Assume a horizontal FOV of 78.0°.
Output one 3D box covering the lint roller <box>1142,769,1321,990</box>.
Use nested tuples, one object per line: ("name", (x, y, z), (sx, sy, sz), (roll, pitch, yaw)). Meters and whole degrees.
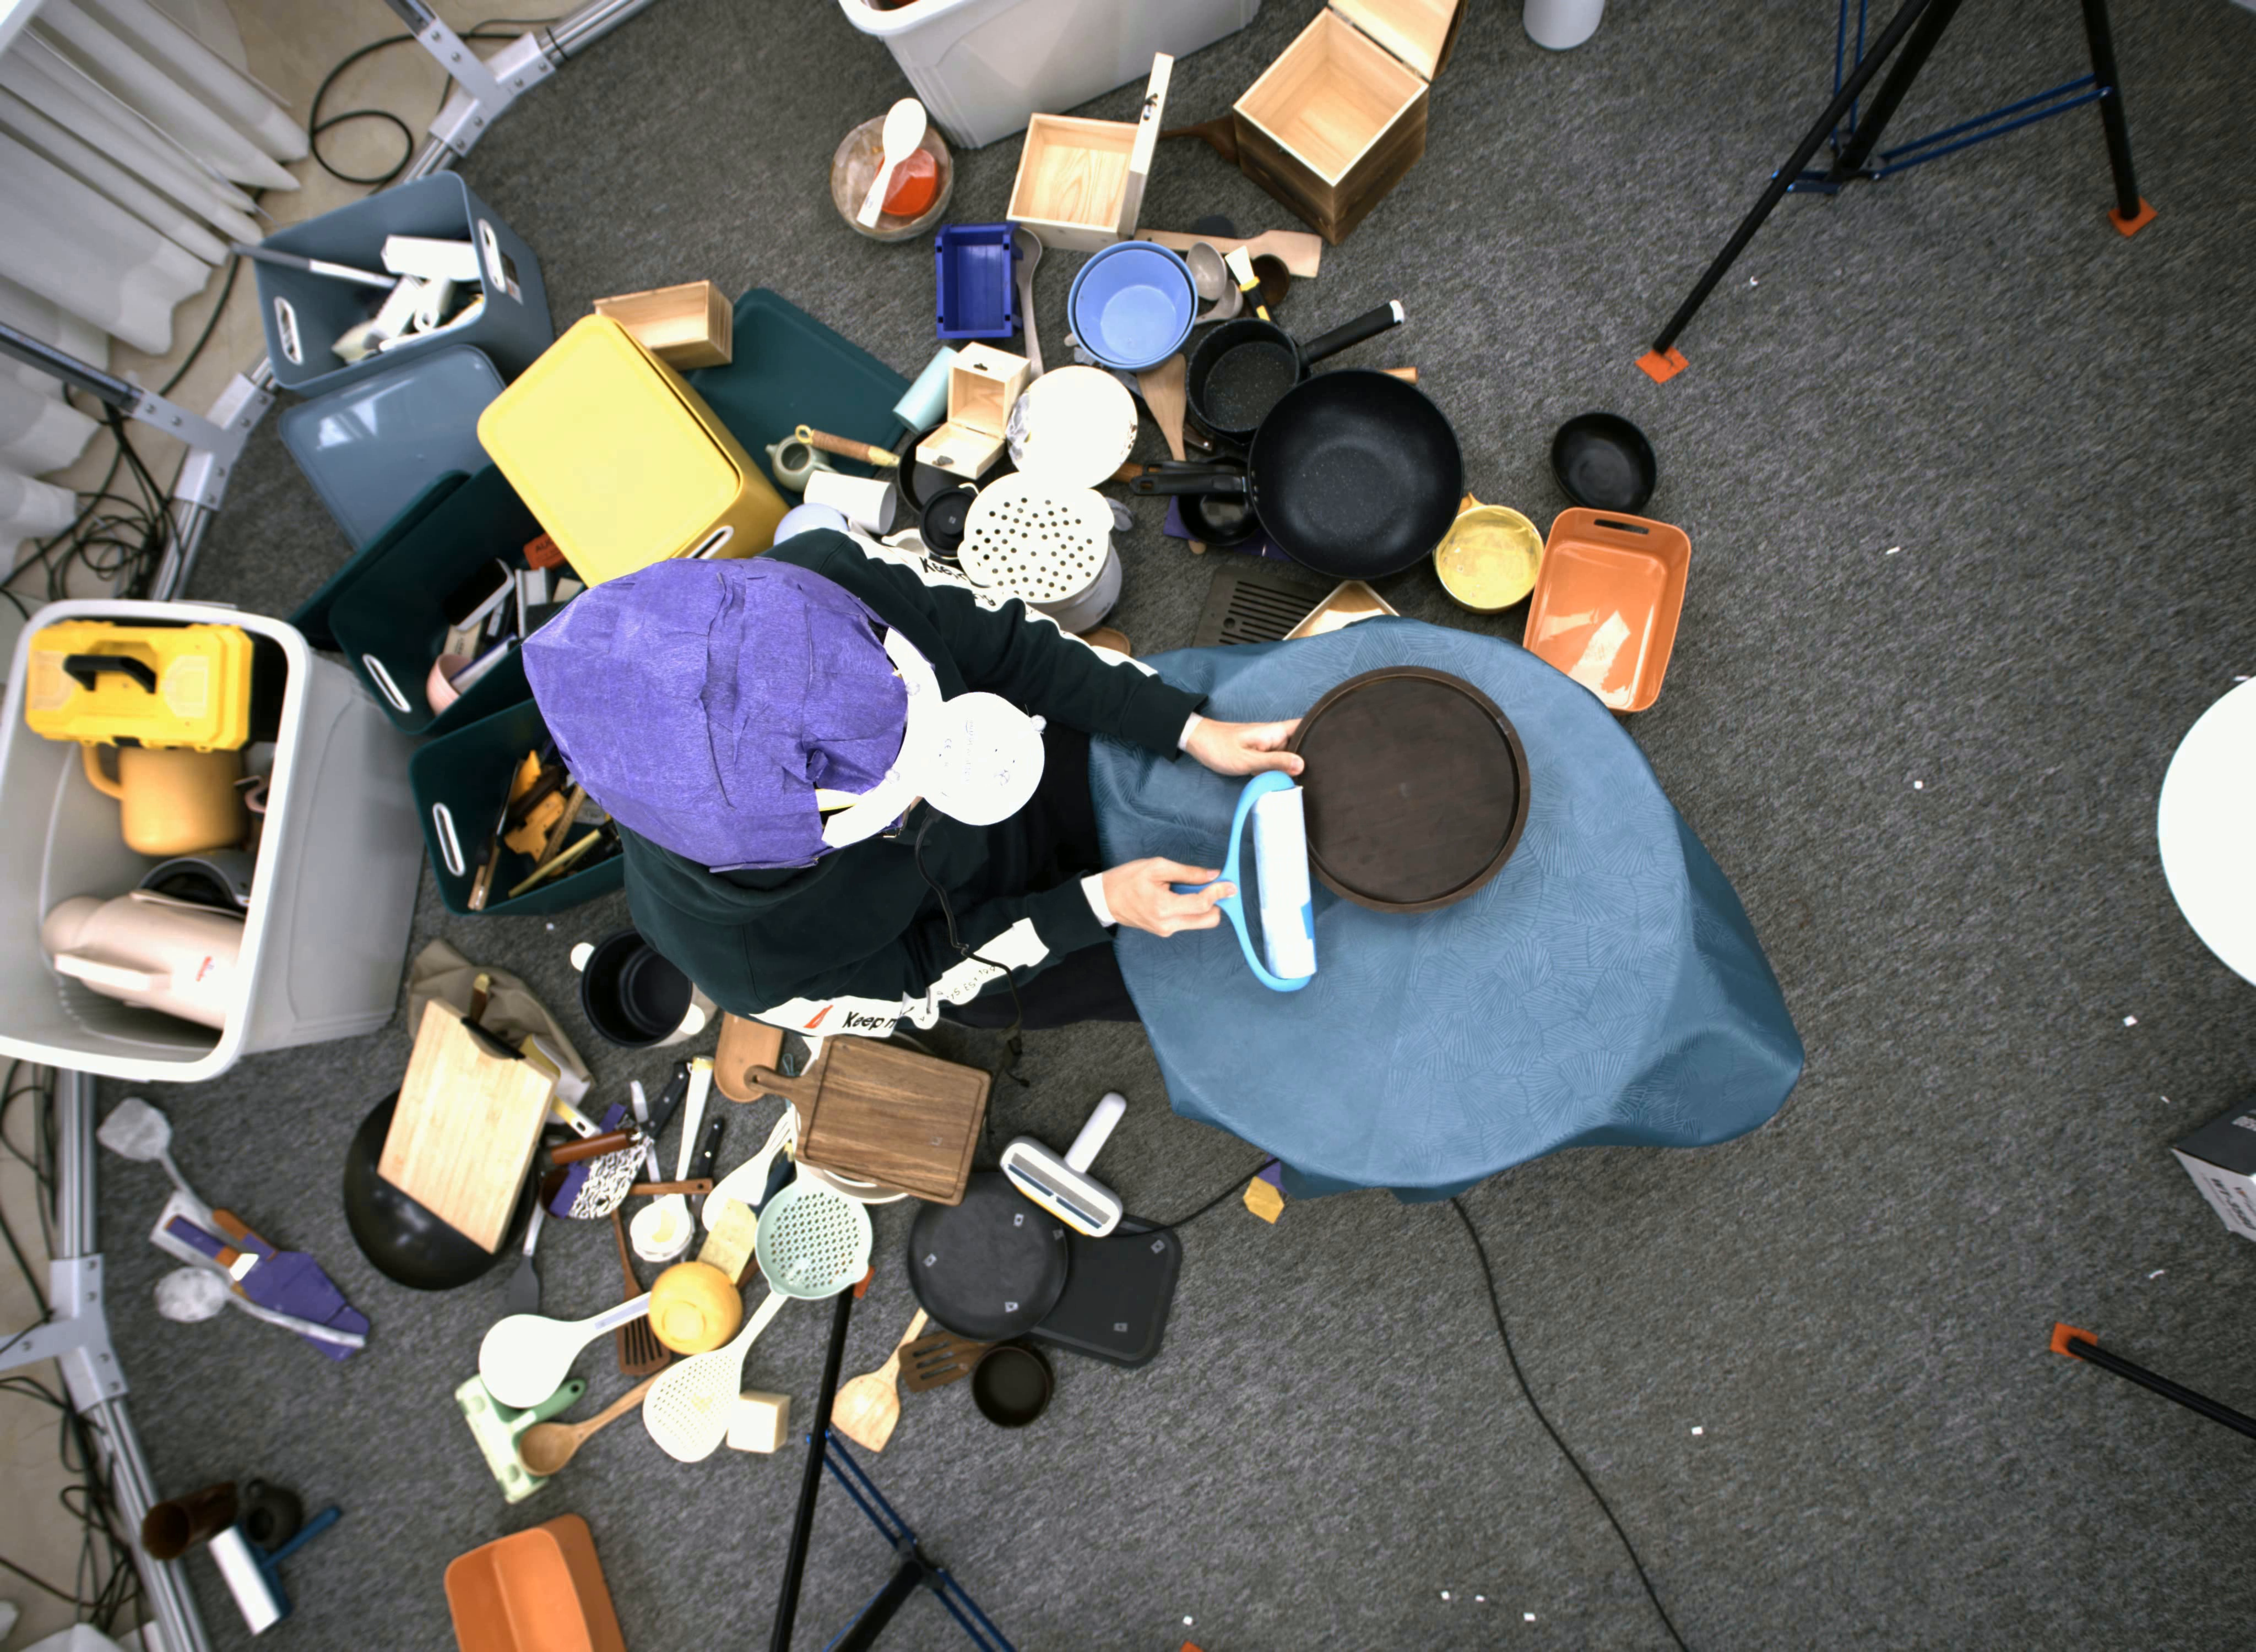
("lint roller", (0.102, 0.063, 1.419), (0.181, 0.067, 0.231), (-8, 102, 7))

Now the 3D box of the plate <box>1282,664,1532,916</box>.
("plate", (0.280, -0.038, 1.396), (0.256, 0.029, 0.255), (1, 93, 18))
